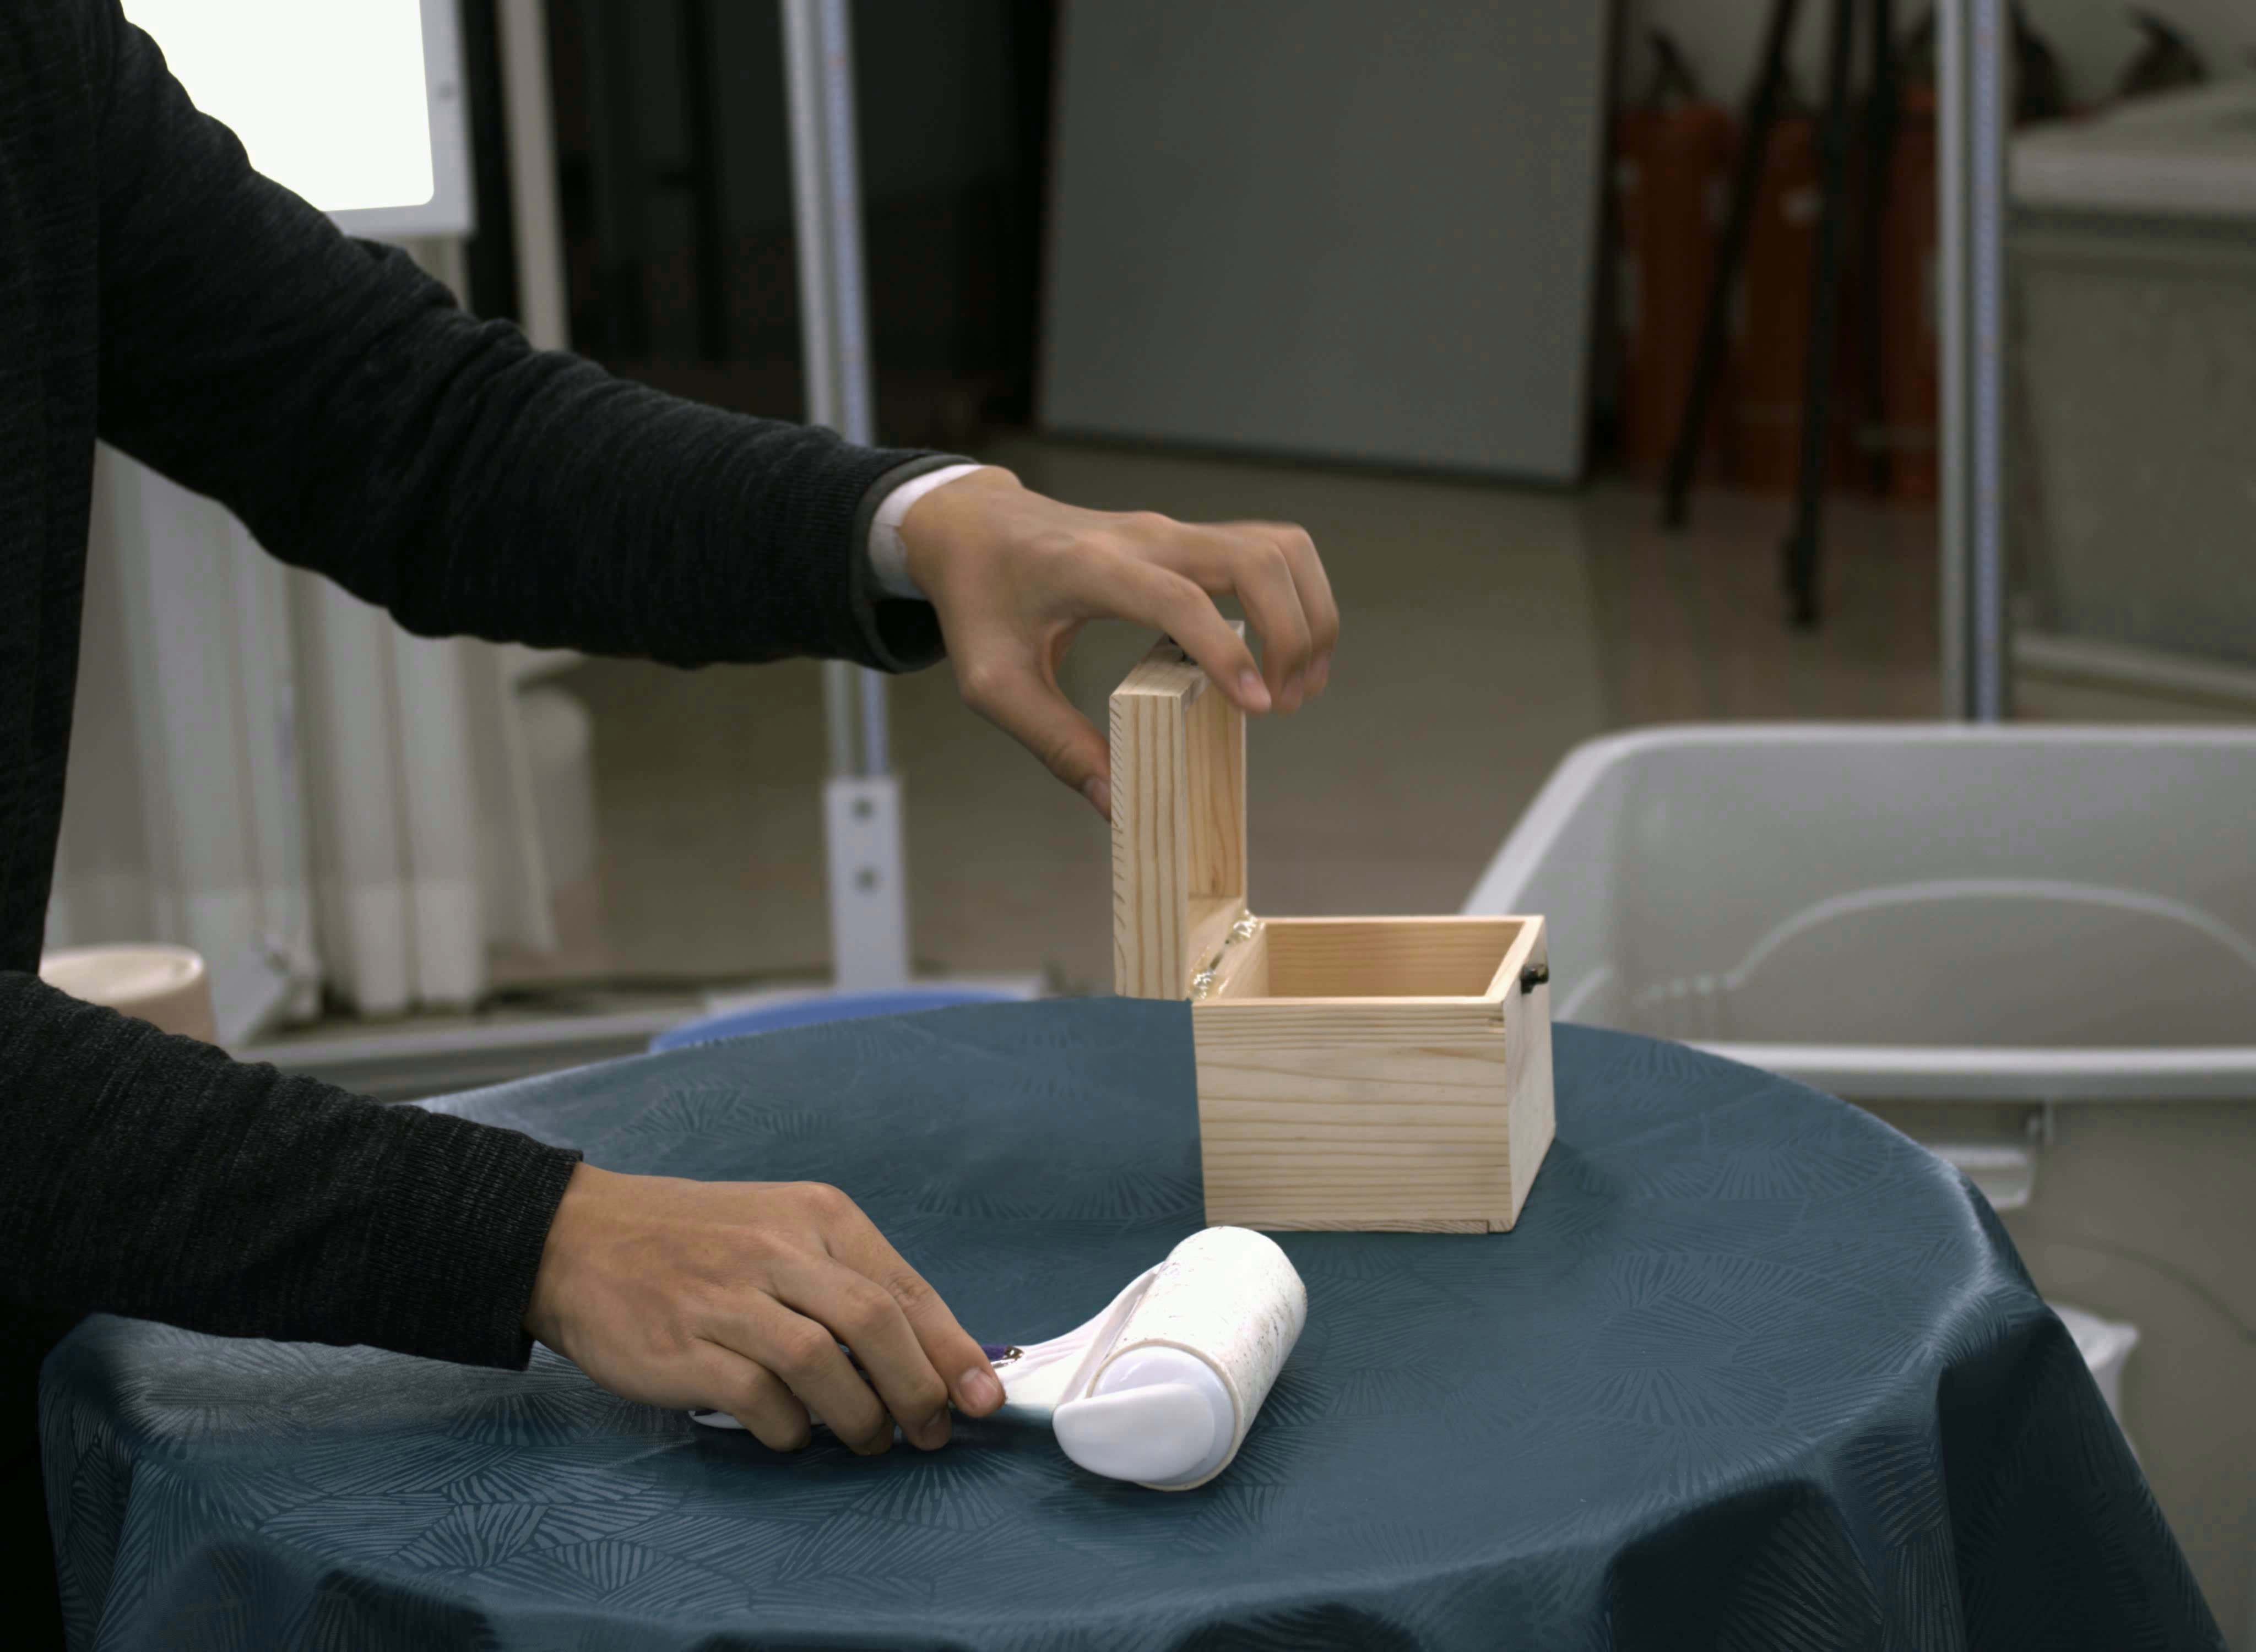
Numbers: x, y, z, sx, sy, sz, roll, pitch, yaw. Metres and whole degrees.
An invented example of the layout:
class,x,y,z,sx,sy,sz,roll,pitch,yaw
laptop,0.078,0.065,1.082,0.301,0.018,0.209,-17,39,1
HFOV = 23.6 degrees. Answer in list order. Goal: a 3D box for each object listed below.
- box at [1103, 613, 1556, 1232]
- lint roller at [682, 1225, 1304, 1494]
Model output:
class,x,y,z,sx,sy,sz,roll,pitch,yaw
box,0.069,0.028,1.741,0.133,0.186,0.102,-1,13,14
lint roller,-0.043,0.151,1.561,0.180,0.051,0.132,2,16,15
